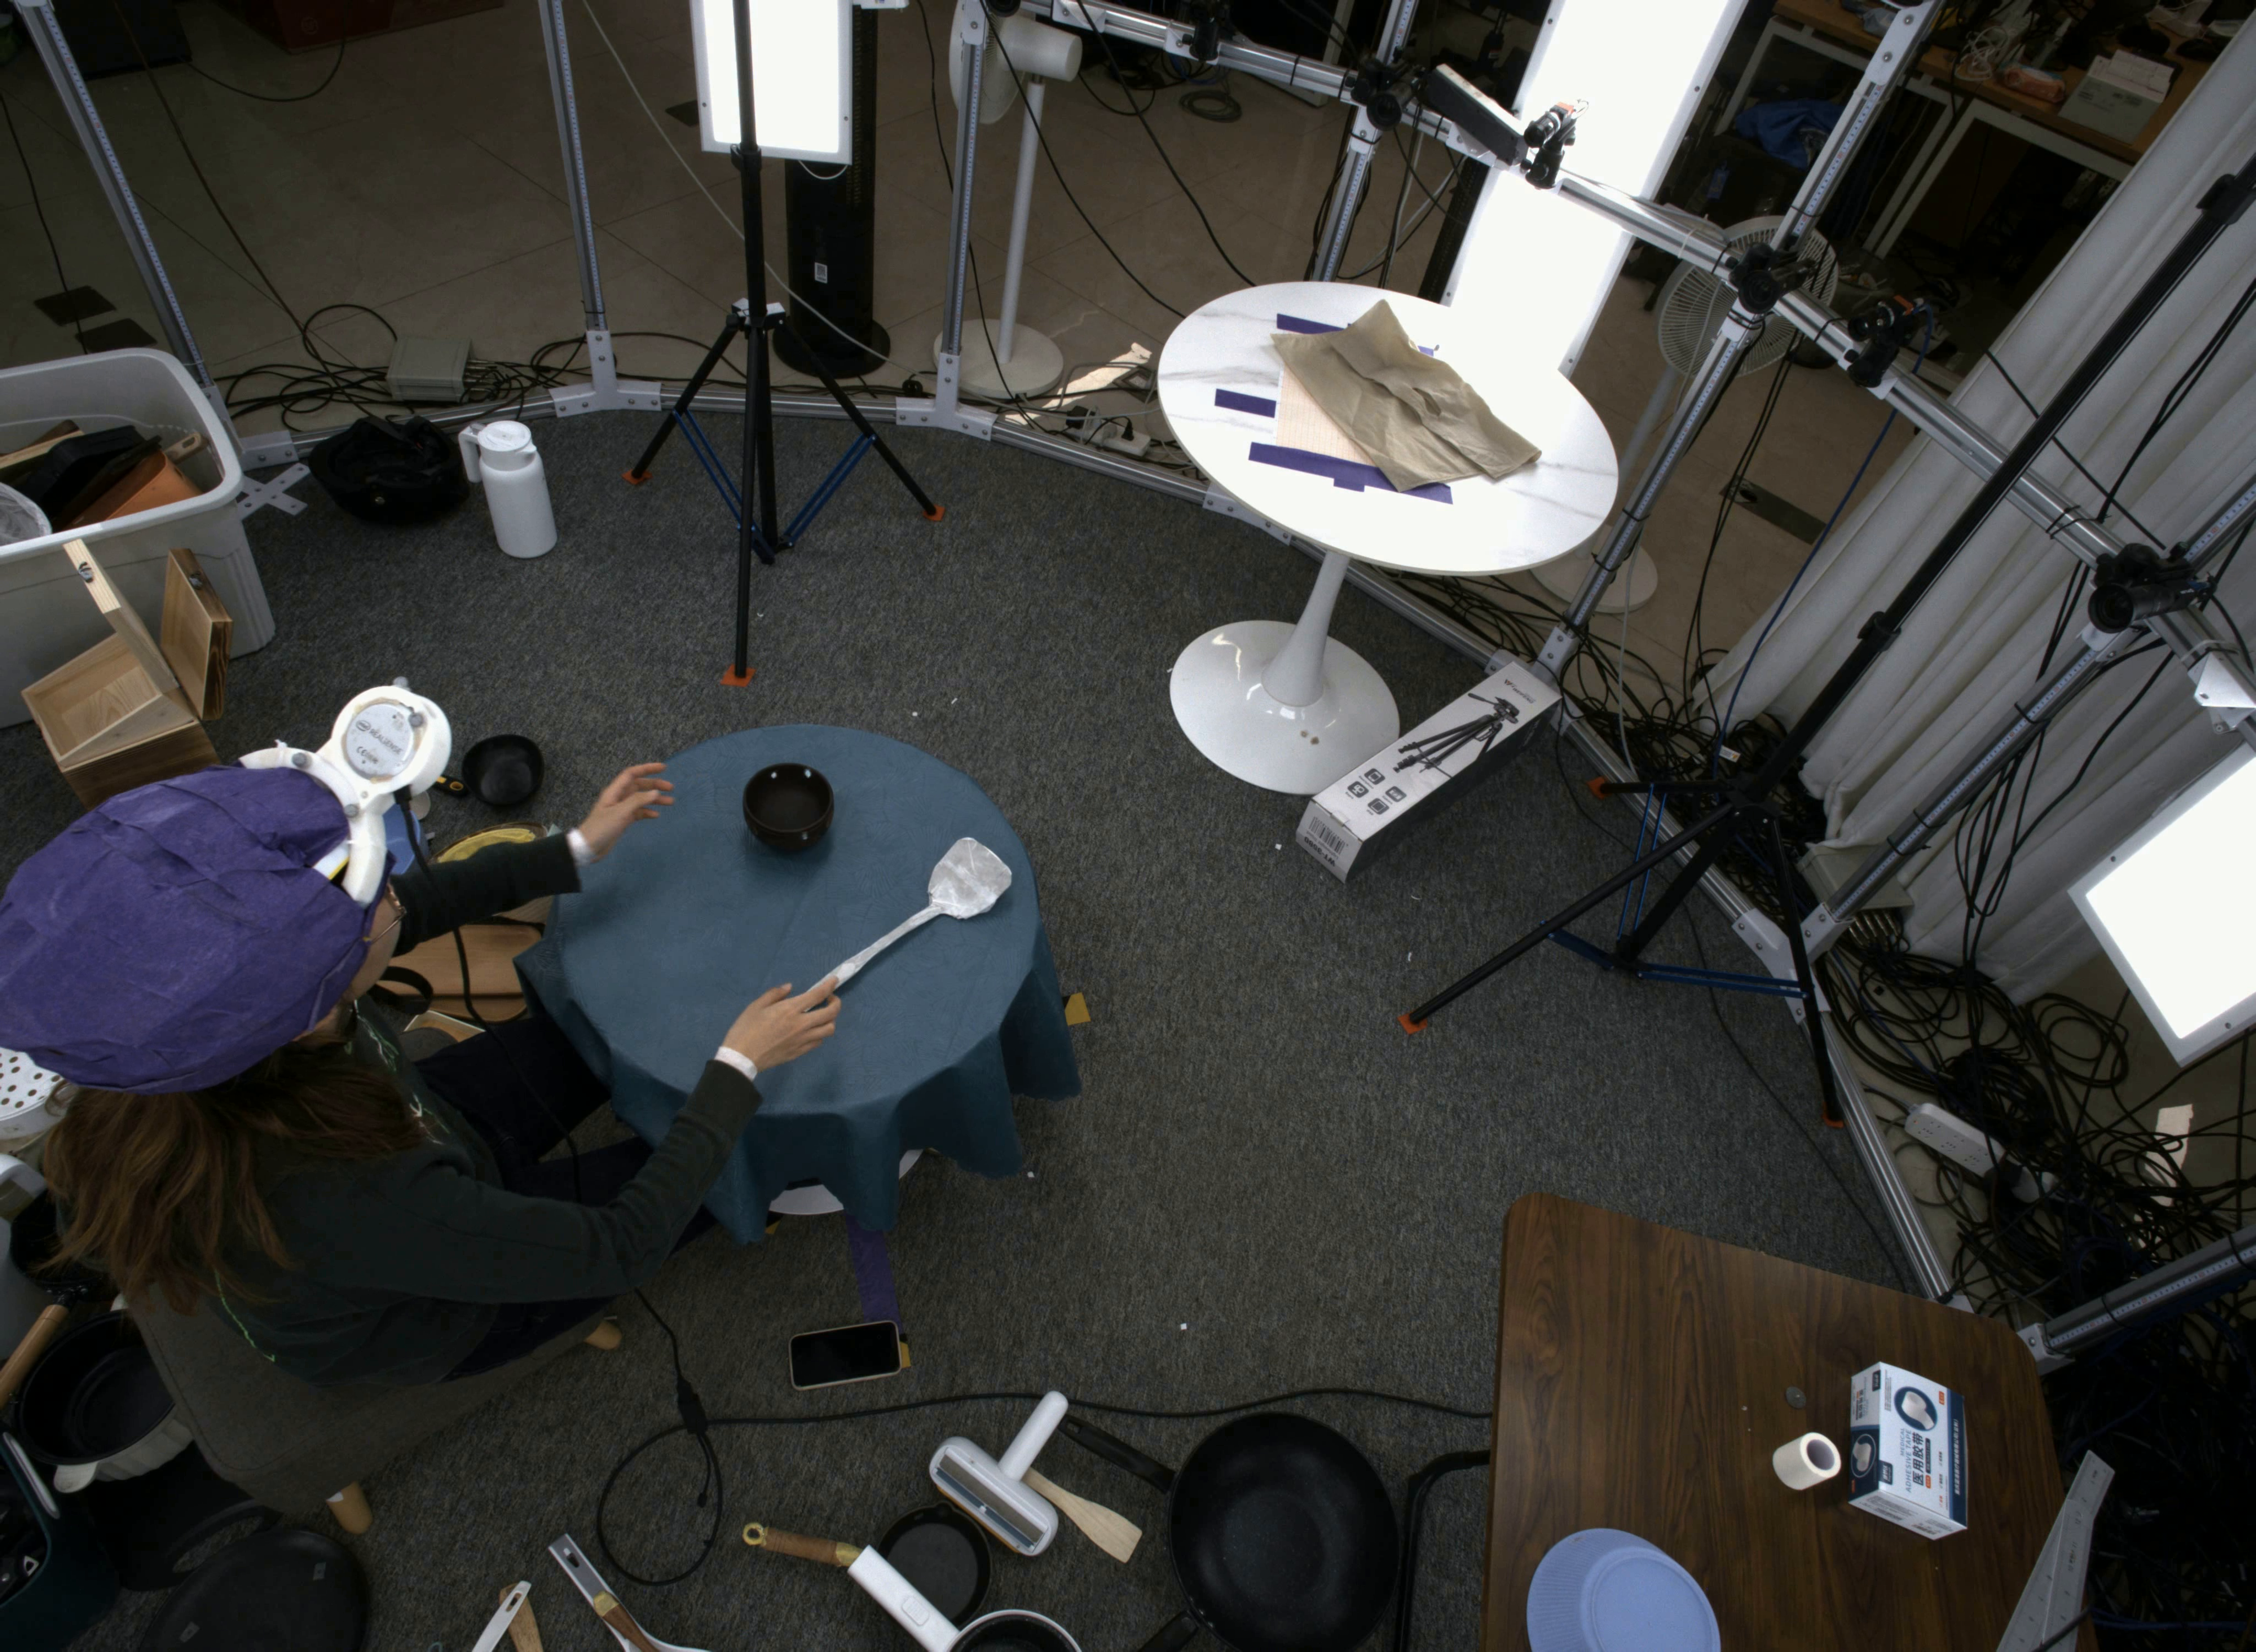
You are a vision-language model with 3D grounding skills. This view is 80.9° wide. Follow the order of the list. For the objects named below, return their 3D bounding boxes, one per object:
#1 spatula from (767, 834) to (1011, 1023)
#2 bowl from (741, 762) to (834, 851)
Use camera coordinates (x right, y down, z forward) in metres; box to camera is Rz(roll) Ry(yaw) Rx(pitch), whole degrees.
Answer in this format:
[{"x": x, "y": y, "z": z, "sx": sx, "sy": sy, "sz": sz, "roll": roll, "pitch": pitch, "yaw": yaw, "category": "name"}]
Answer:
[{"x": -0.302, "y": 0.134, "z": 1.636, "sx": 0.097, "sy": 0.045, "sz": 0.365, "roll": 42, "pitch": 55, "yaw": 16, "category": "spatula"}, {"x": -0.443, "y": -0.019, "z": 1.692, "sx": 0.117, "sy": 0.071, "sz": 0.116, "roll": 6, "pitch": 52, "yaw": -6, "category": "bowl"}]
